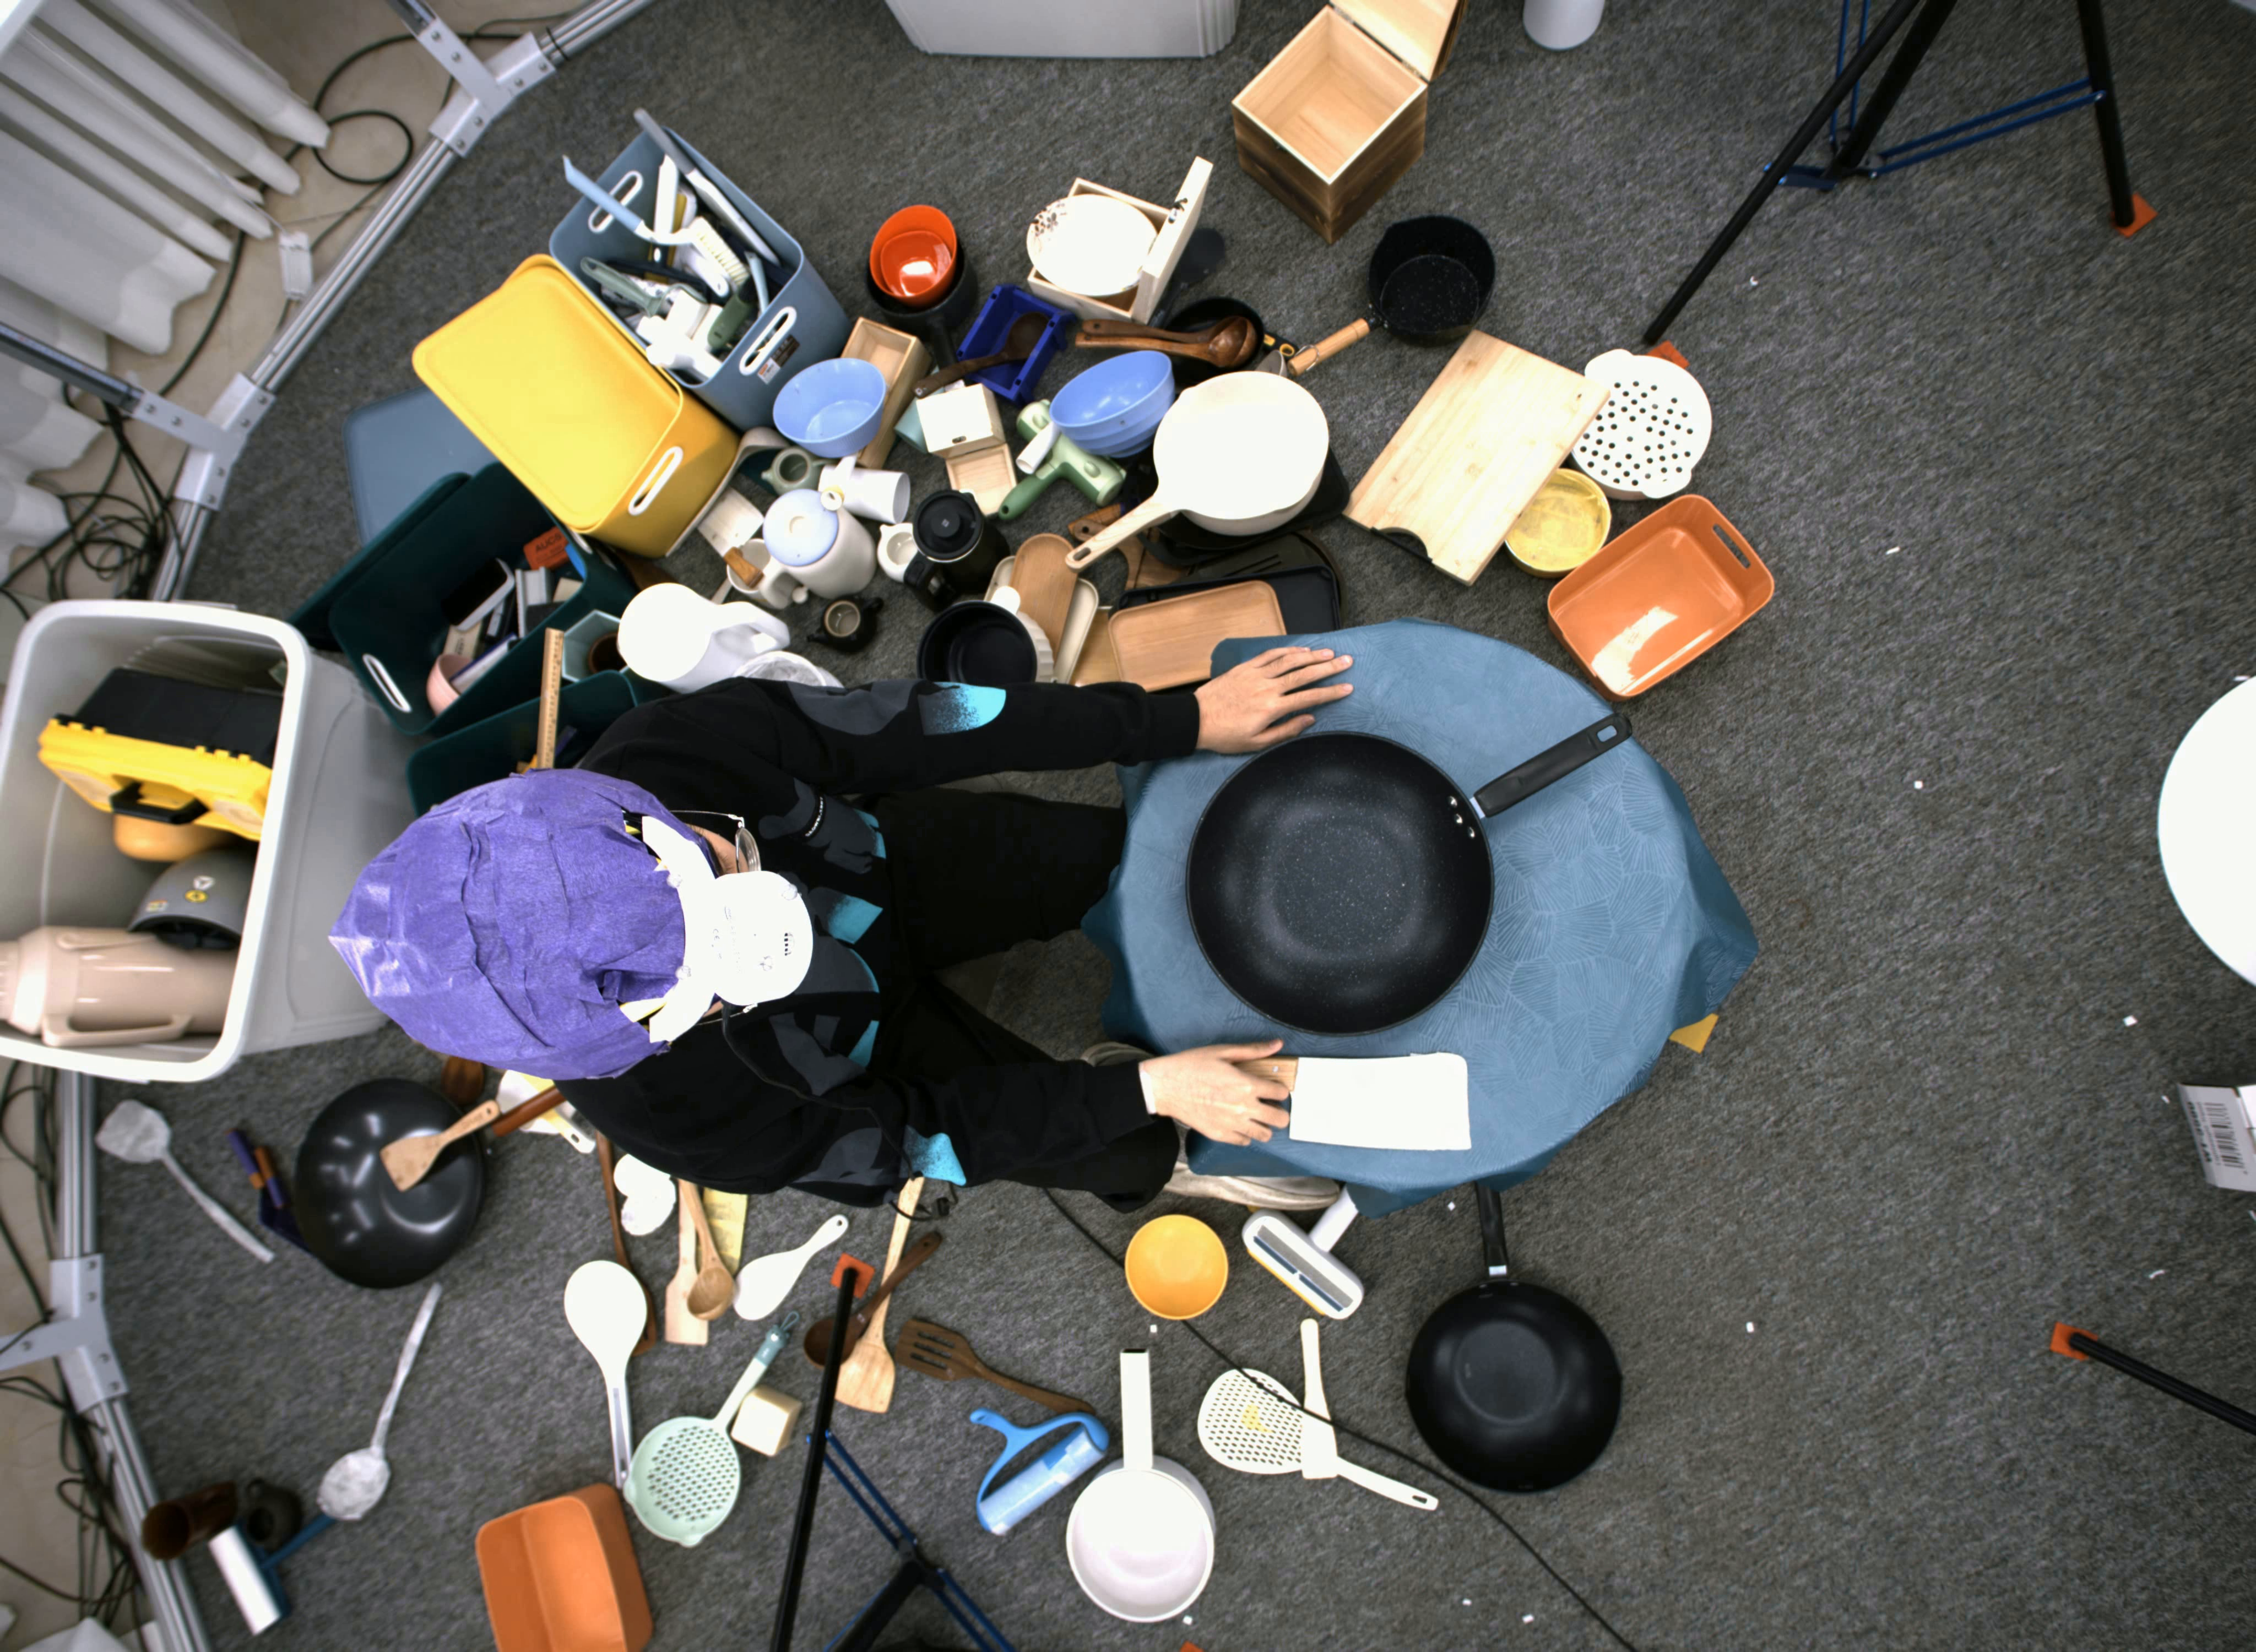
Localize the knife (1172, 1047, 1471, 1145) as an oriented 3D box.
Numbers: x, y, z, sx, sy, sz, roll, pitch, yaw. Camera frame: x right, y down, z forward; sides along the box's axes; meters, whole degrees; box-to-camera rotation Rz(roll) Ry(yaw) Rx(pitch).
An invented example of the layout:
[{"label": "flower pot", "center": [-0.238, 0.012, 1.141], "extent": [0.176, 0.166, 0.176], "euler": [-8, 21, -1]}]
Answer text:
[{"label": "knife", "center": [0.203, 0.275, 1.452], "extent": [0.316, 0.022, 0.113], "euler": [5, 88, 8]}]

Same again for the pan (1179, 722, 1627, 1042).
[{"label": "pan", "center": [0.282, 0.023, 1.407], "extent": [0.479, 0.111, 0.308], "euler": [-29, 84, 8]}]
